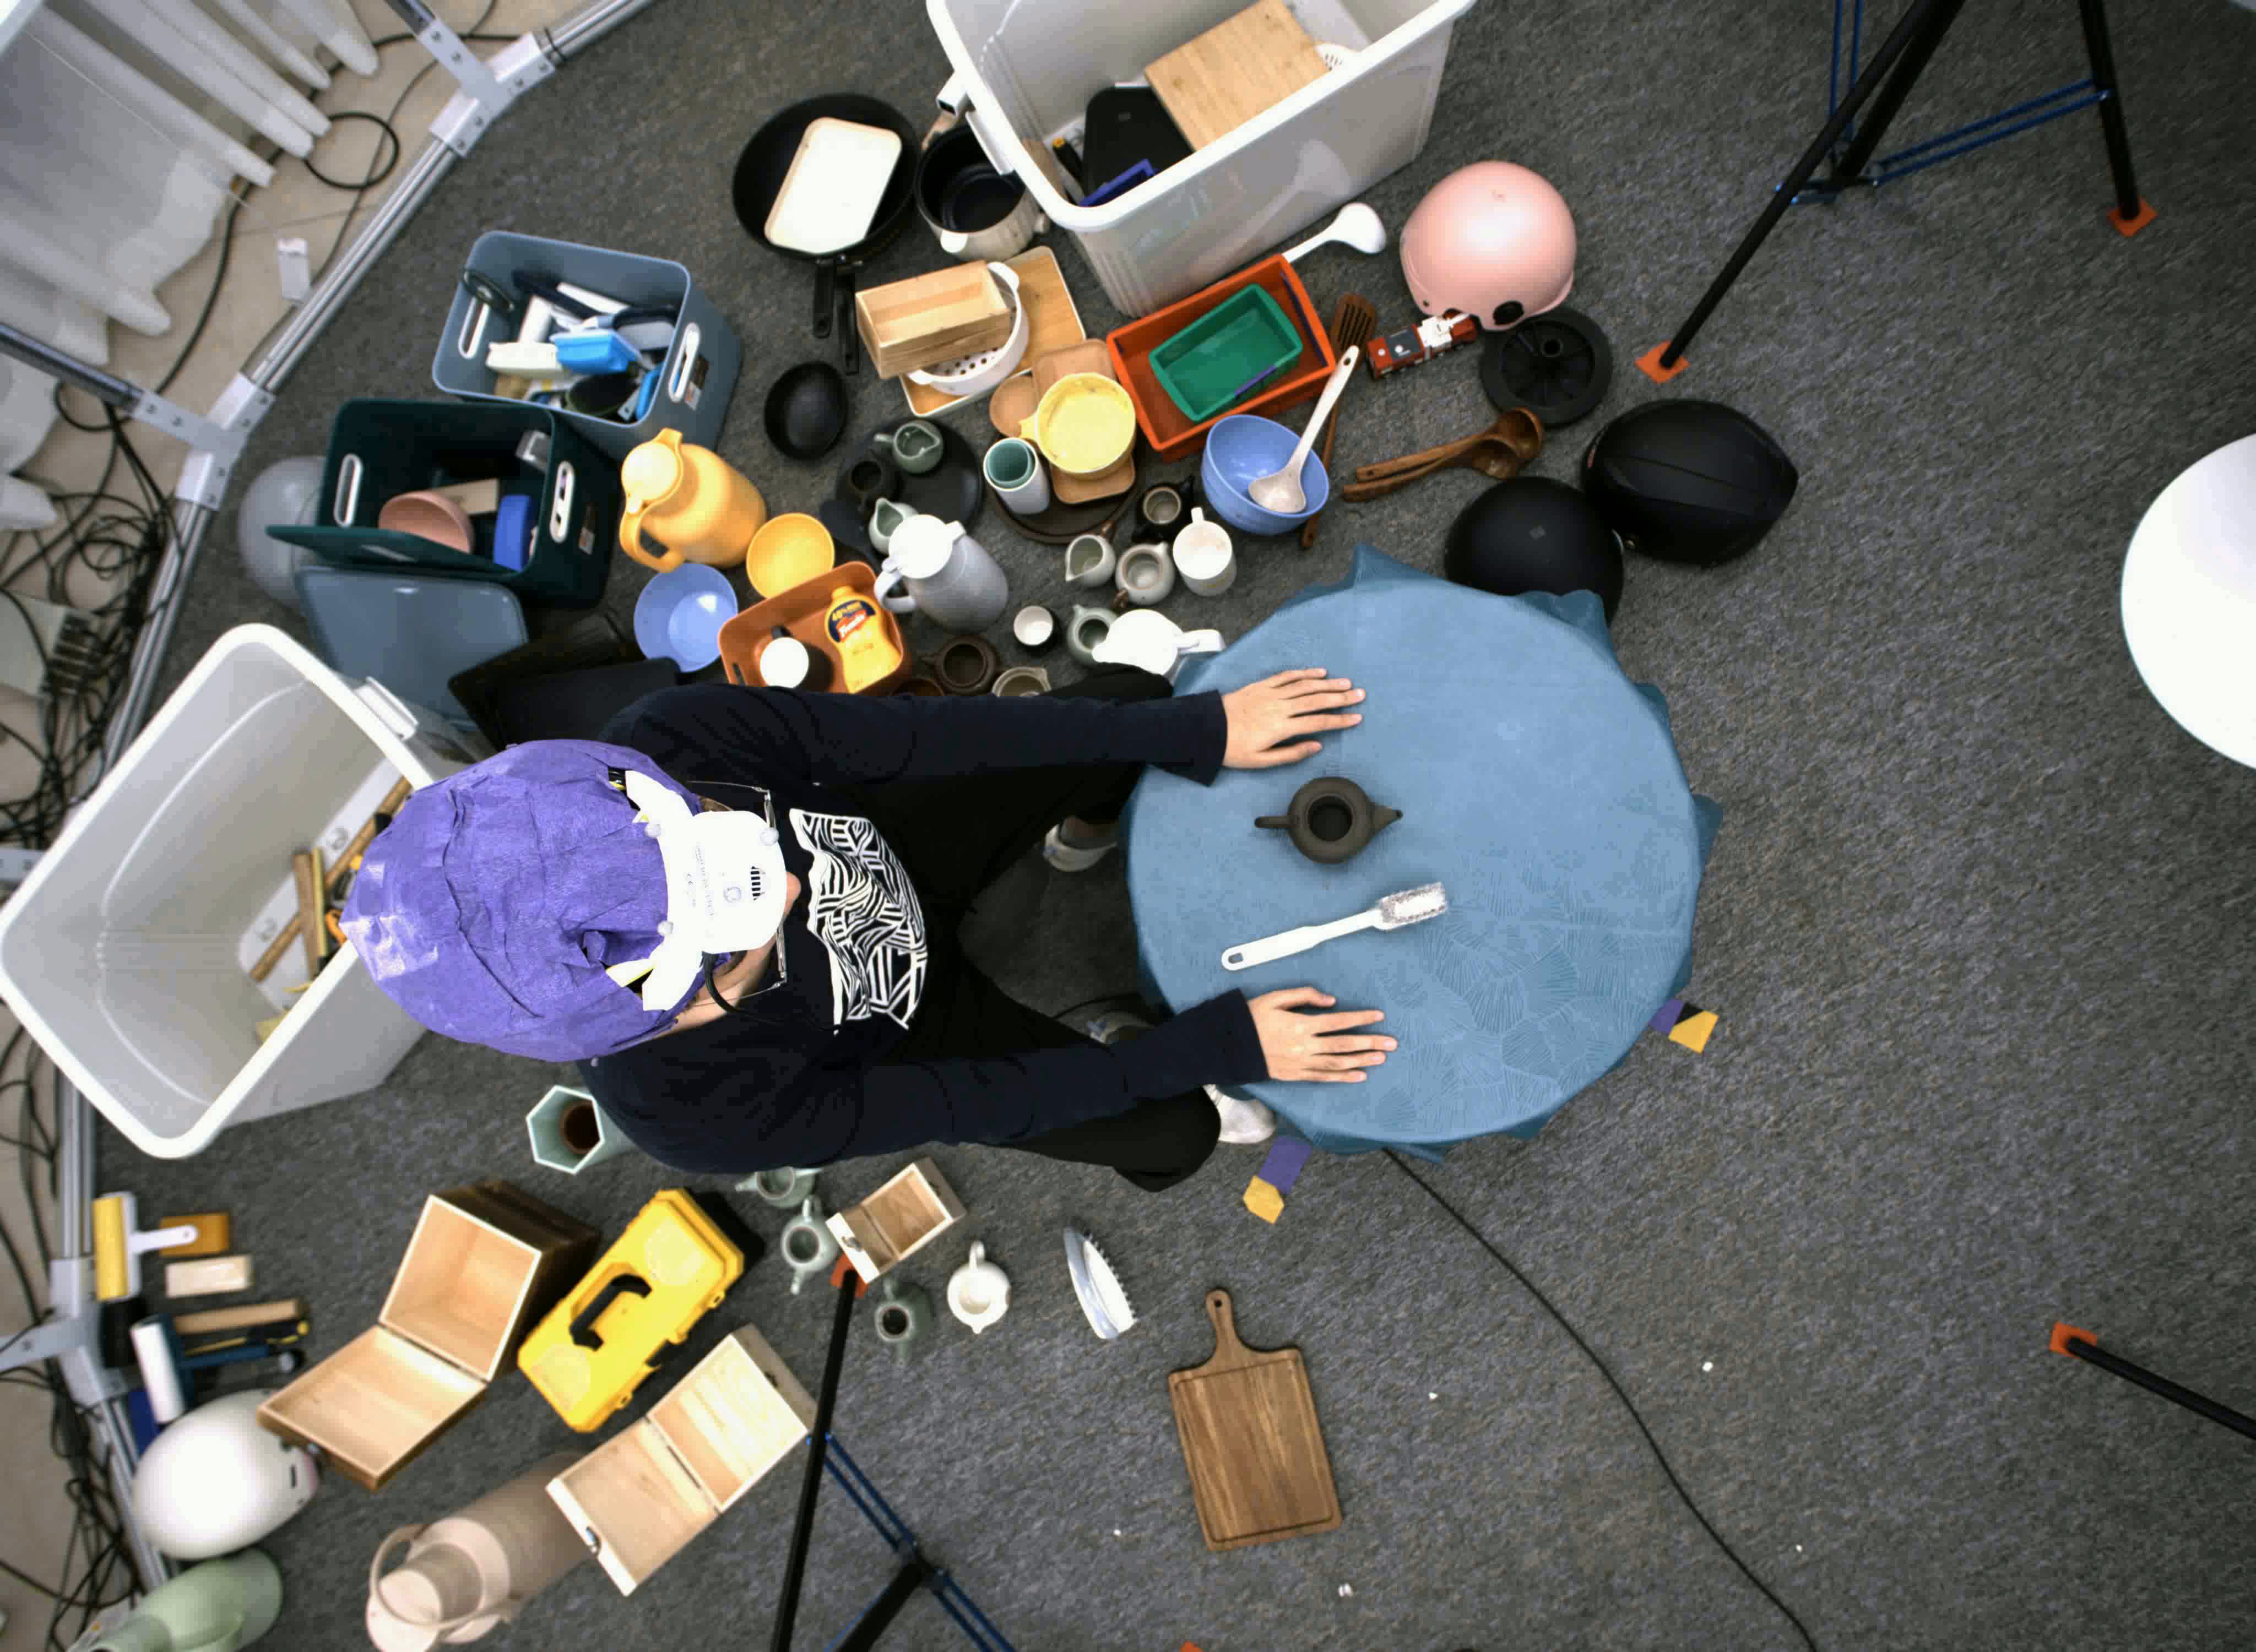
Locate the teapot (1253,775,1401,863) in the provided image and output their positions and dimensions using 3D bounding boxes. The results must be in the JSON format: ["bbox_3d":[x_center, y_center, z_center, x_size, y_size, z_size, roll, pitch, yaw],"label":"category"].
[{"bbox_3d":[0.208,-0.007,1.444,0.155,0.064,0.092,-1,87,11],"label":"teapot"}]

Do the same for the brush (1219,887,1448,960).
[{"bbox_3d":[0.211,0.104,1.445,0.245,0.050,0.034,-14,88,10],"label":"brush"}]
